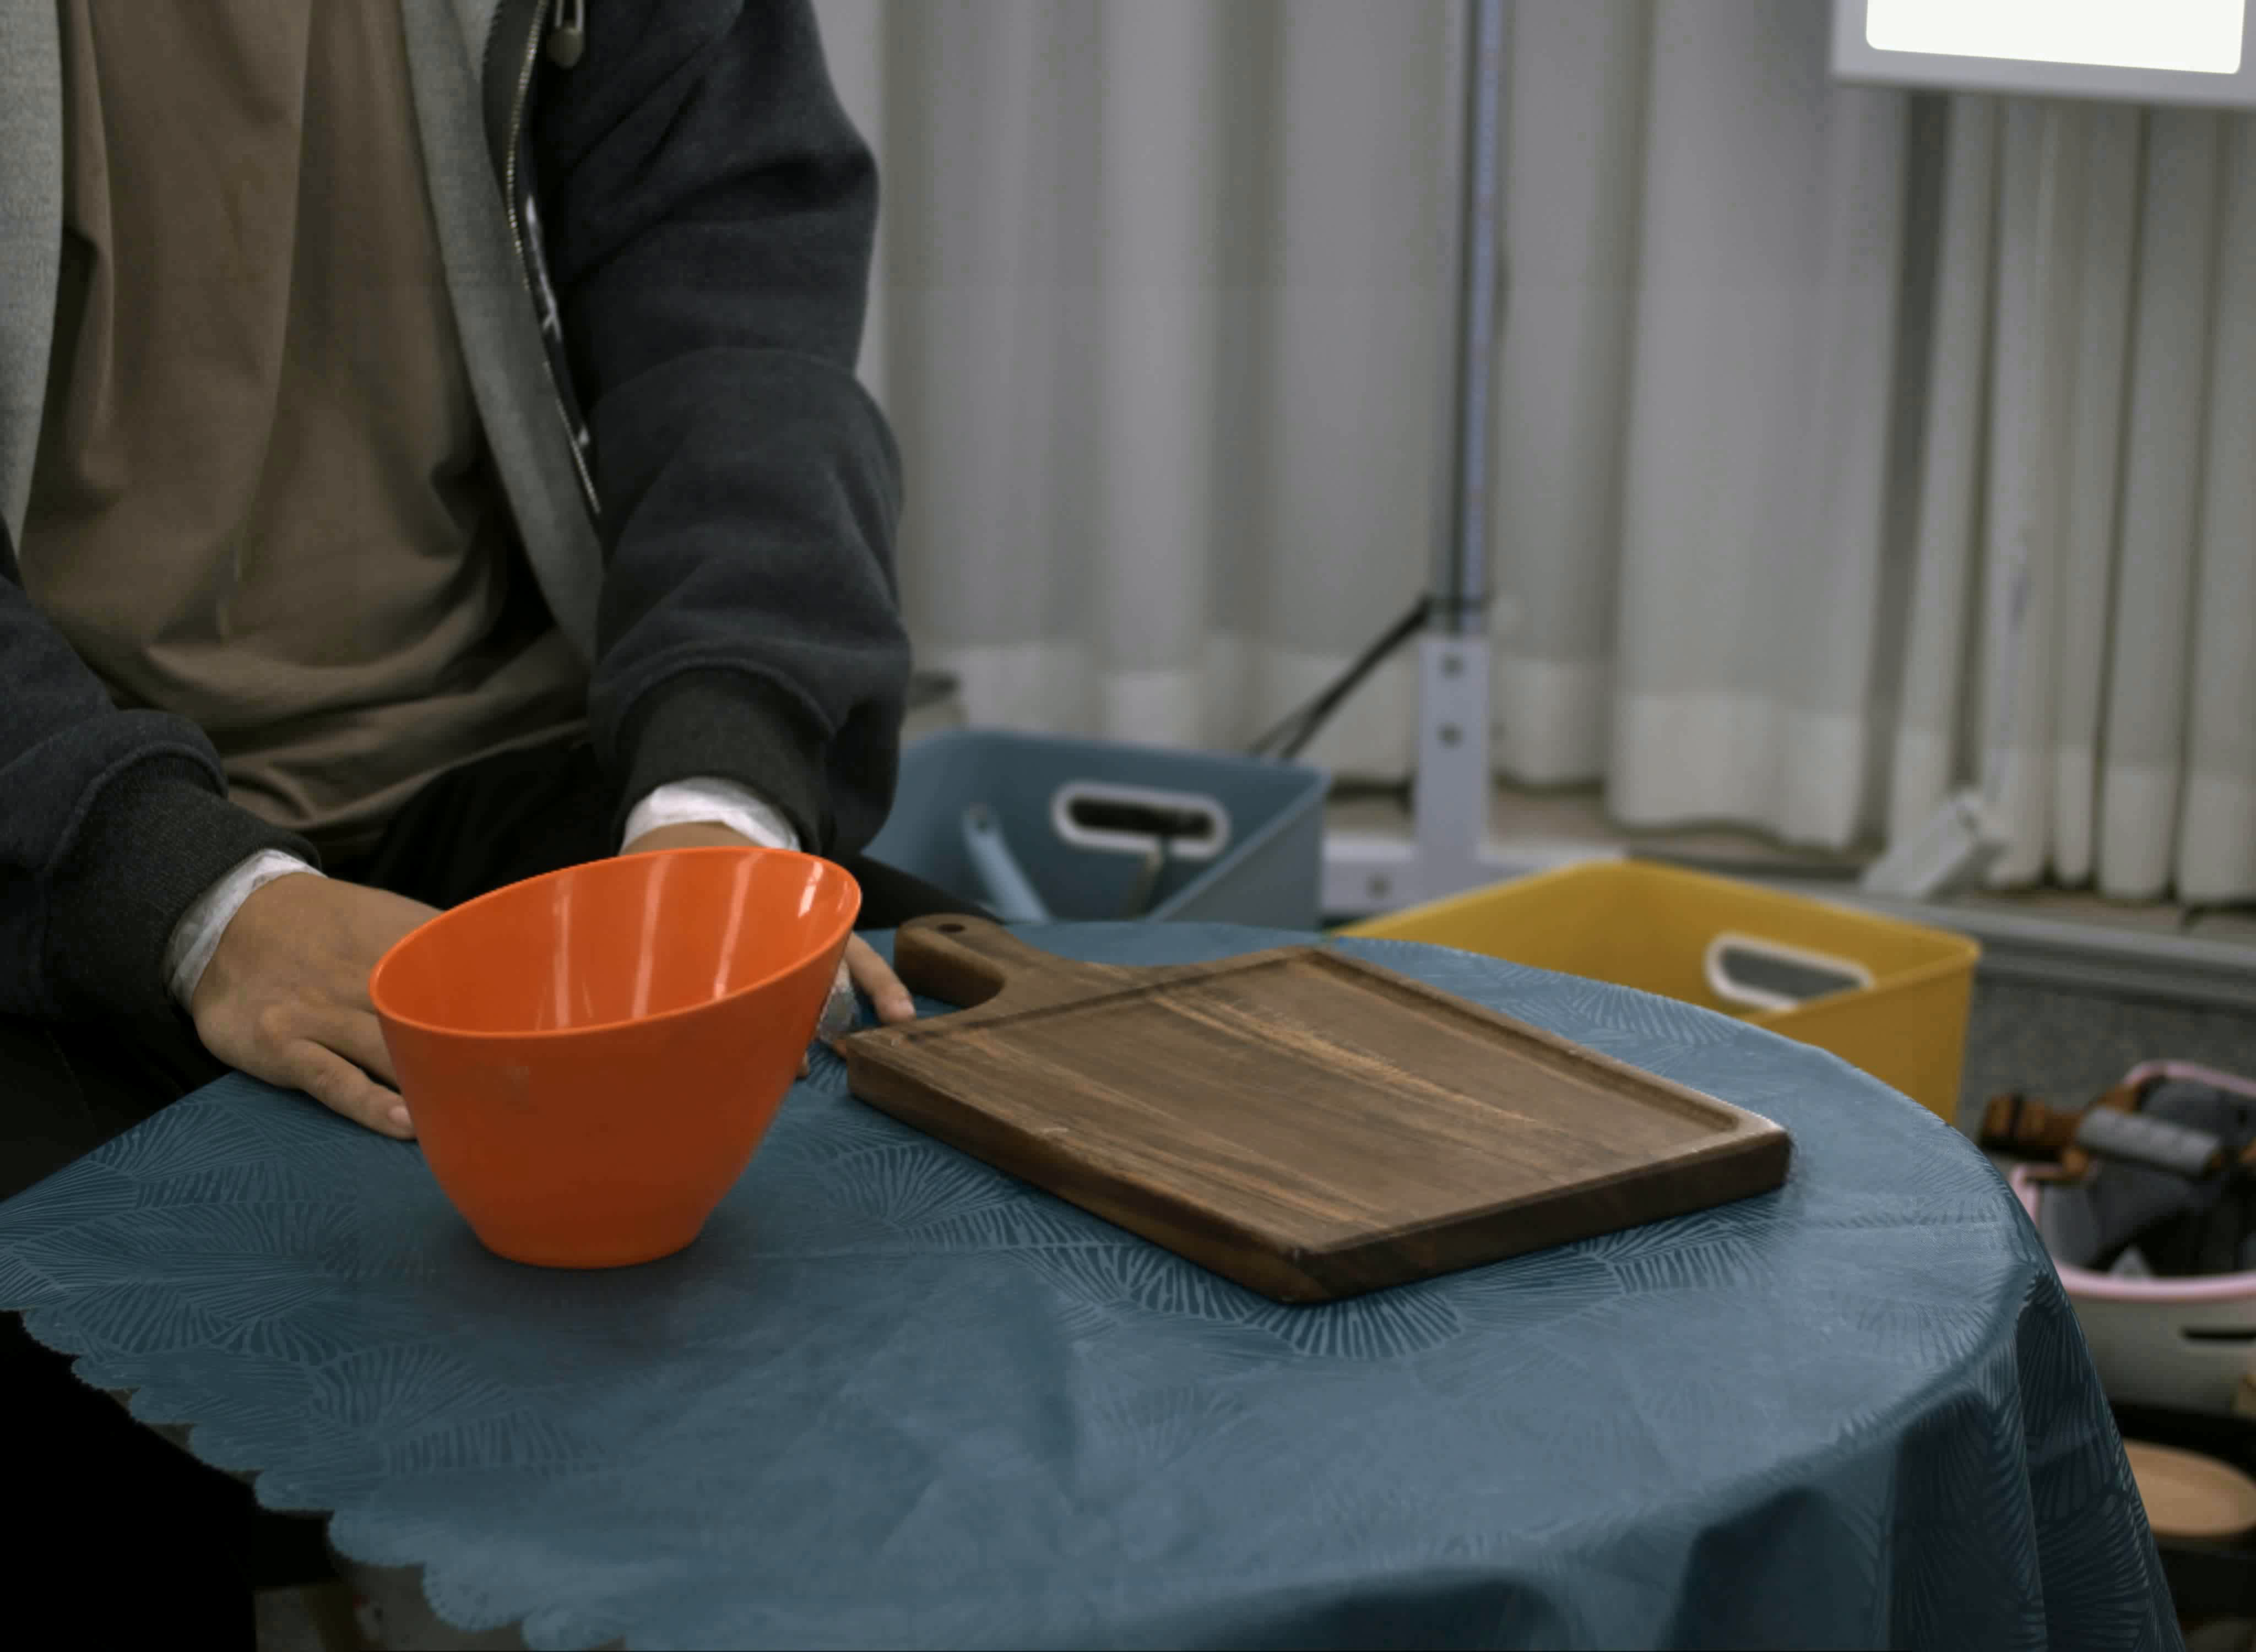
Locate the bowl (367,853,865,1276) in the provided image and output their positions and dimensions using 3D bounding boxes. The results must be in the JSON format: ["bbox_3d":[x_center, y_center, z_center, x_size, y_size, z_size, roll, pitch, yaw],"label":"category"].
[{"bbox_3d":[-0.151,0.073,1.570,0.147,0.105,0.147,1,16,0],"label":"bowl"}]

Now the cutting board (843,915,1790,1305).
[{"bbox_3d":[0.028,0.079,1.707,0.202,0.023,0.347,-10,19,-35],"label":"cutting board"}]
